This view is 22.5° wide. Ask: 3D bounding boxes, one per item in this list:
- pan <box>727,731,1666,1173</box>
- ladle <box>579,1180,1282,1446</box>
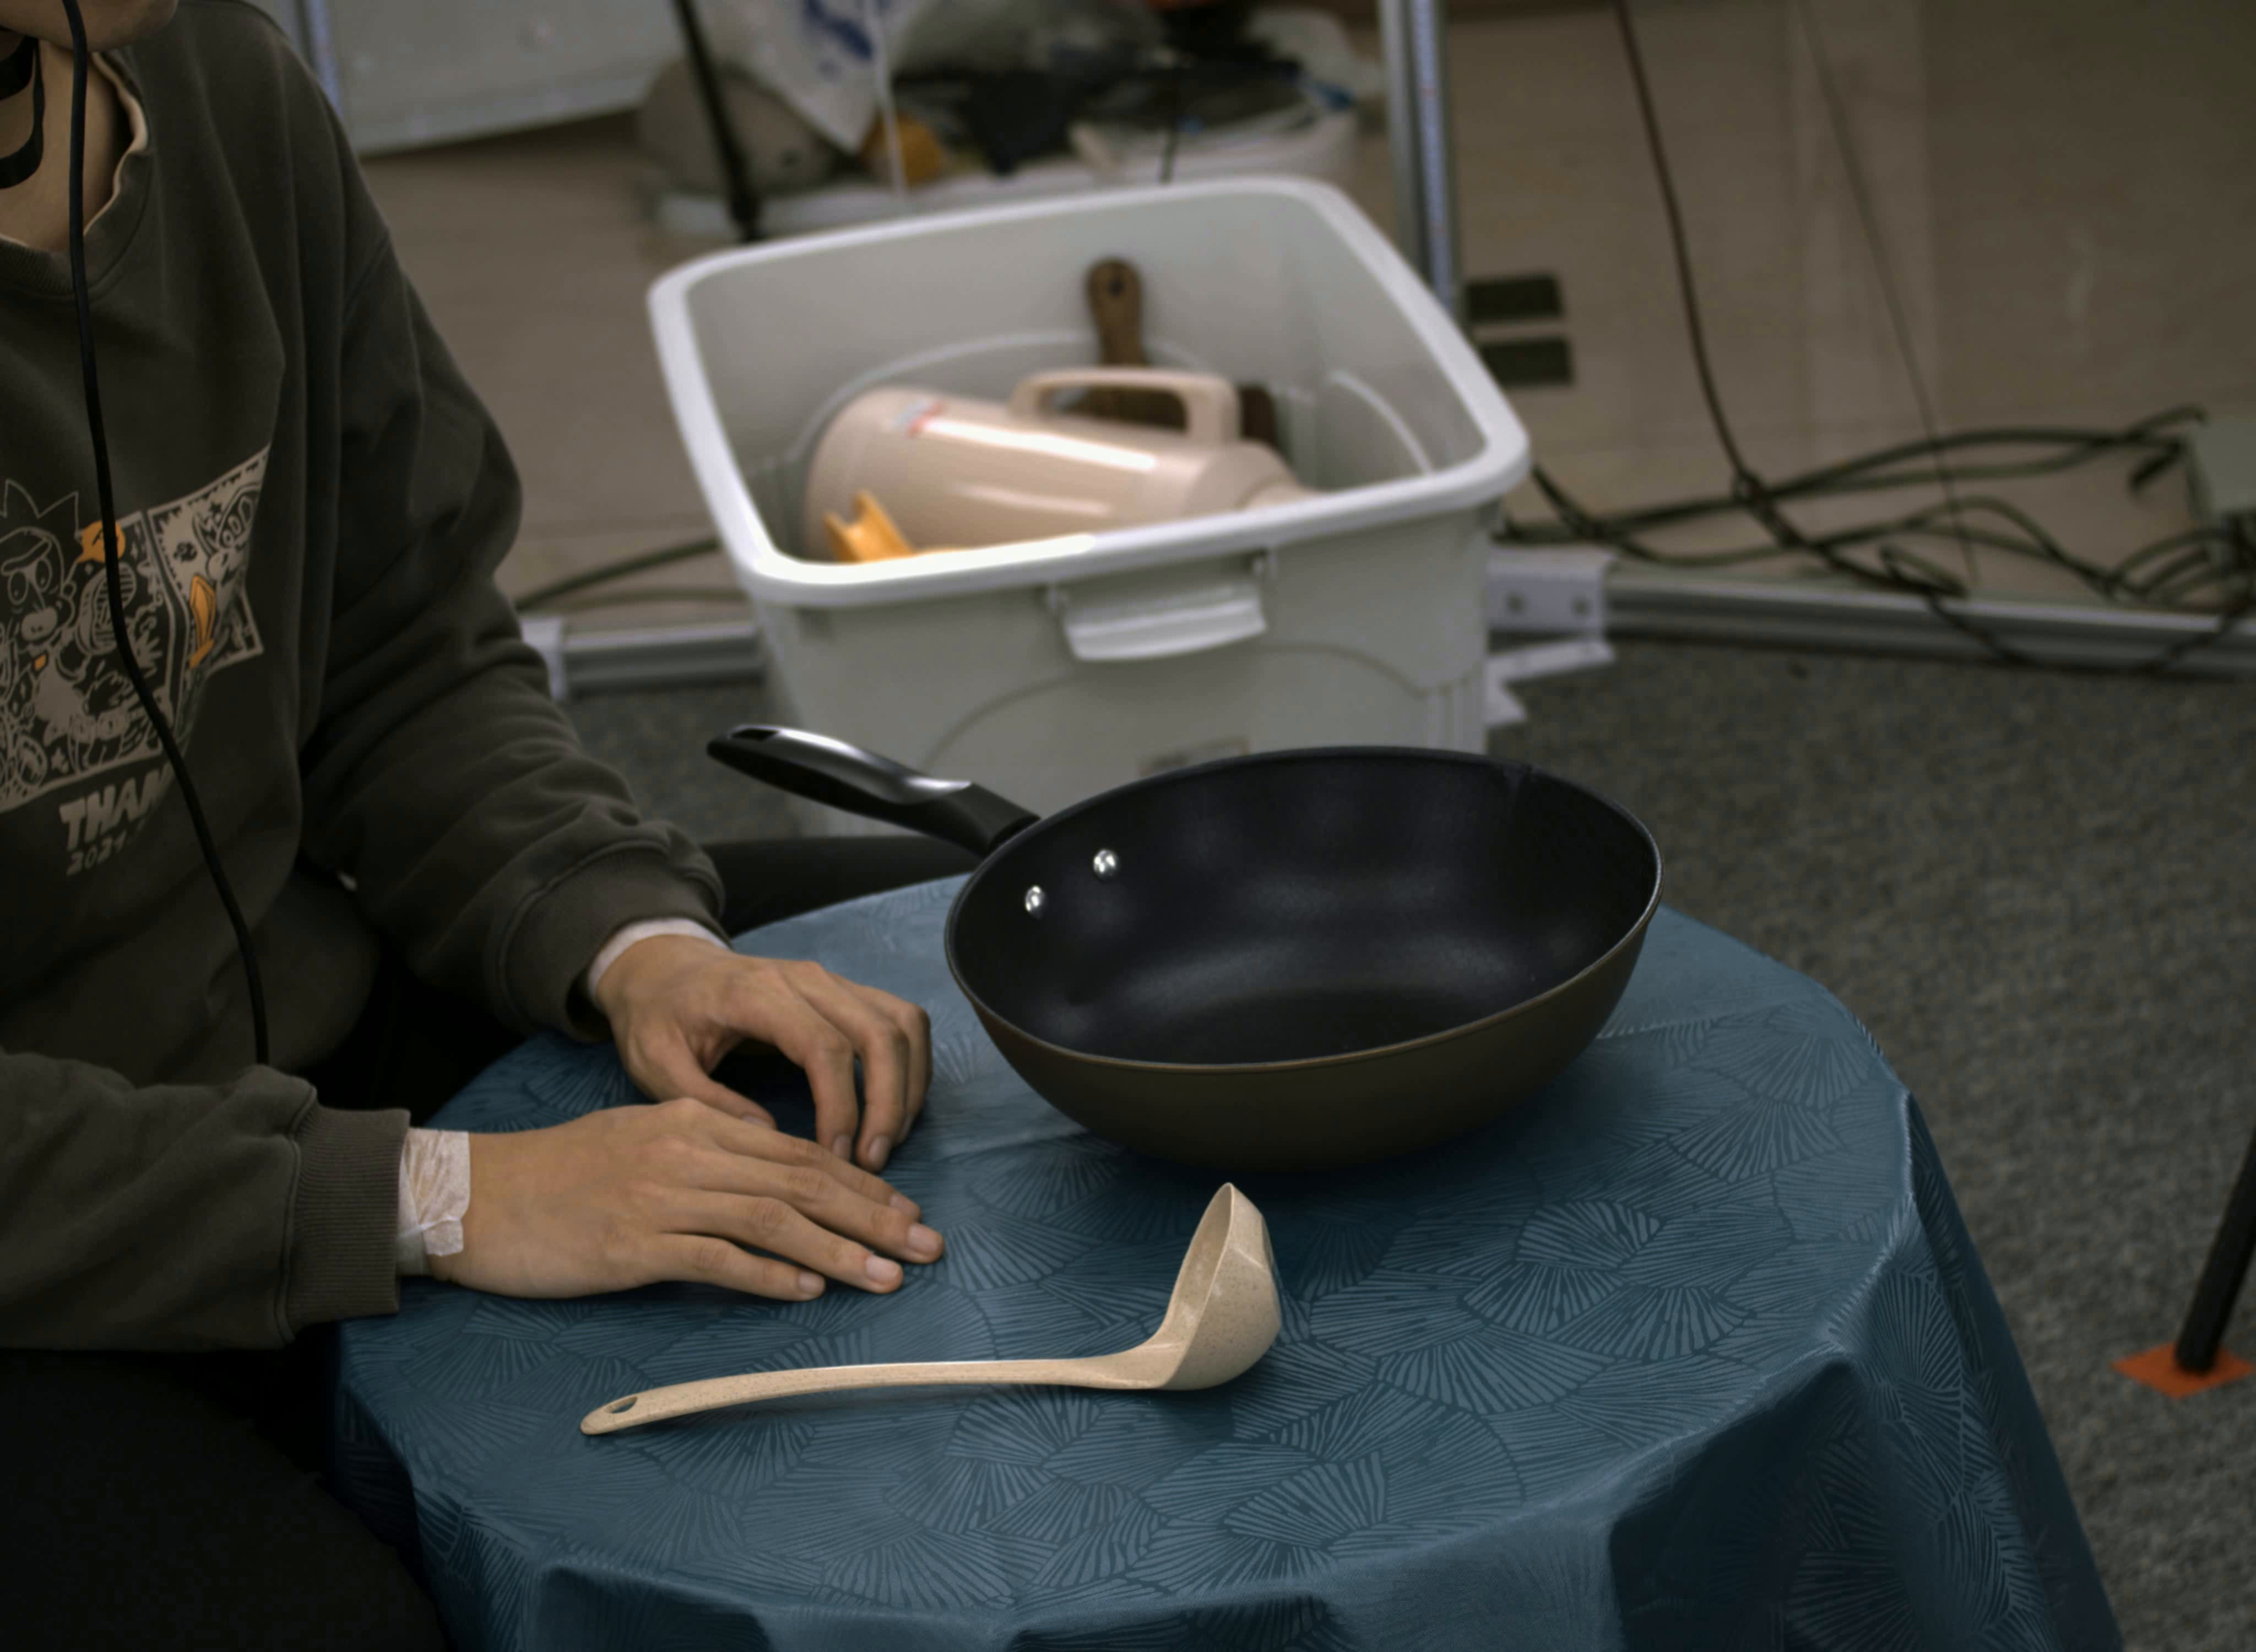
[{"bbox_3d":[0.004,0.043,2.251,0.460,0.088,0.285,15,33,41],"label":"pan"},{"bbox_3d":[-0.073,0.173,2.005,0.254,0.074,0.071,-6,31,0],"label":"ladle"}]
